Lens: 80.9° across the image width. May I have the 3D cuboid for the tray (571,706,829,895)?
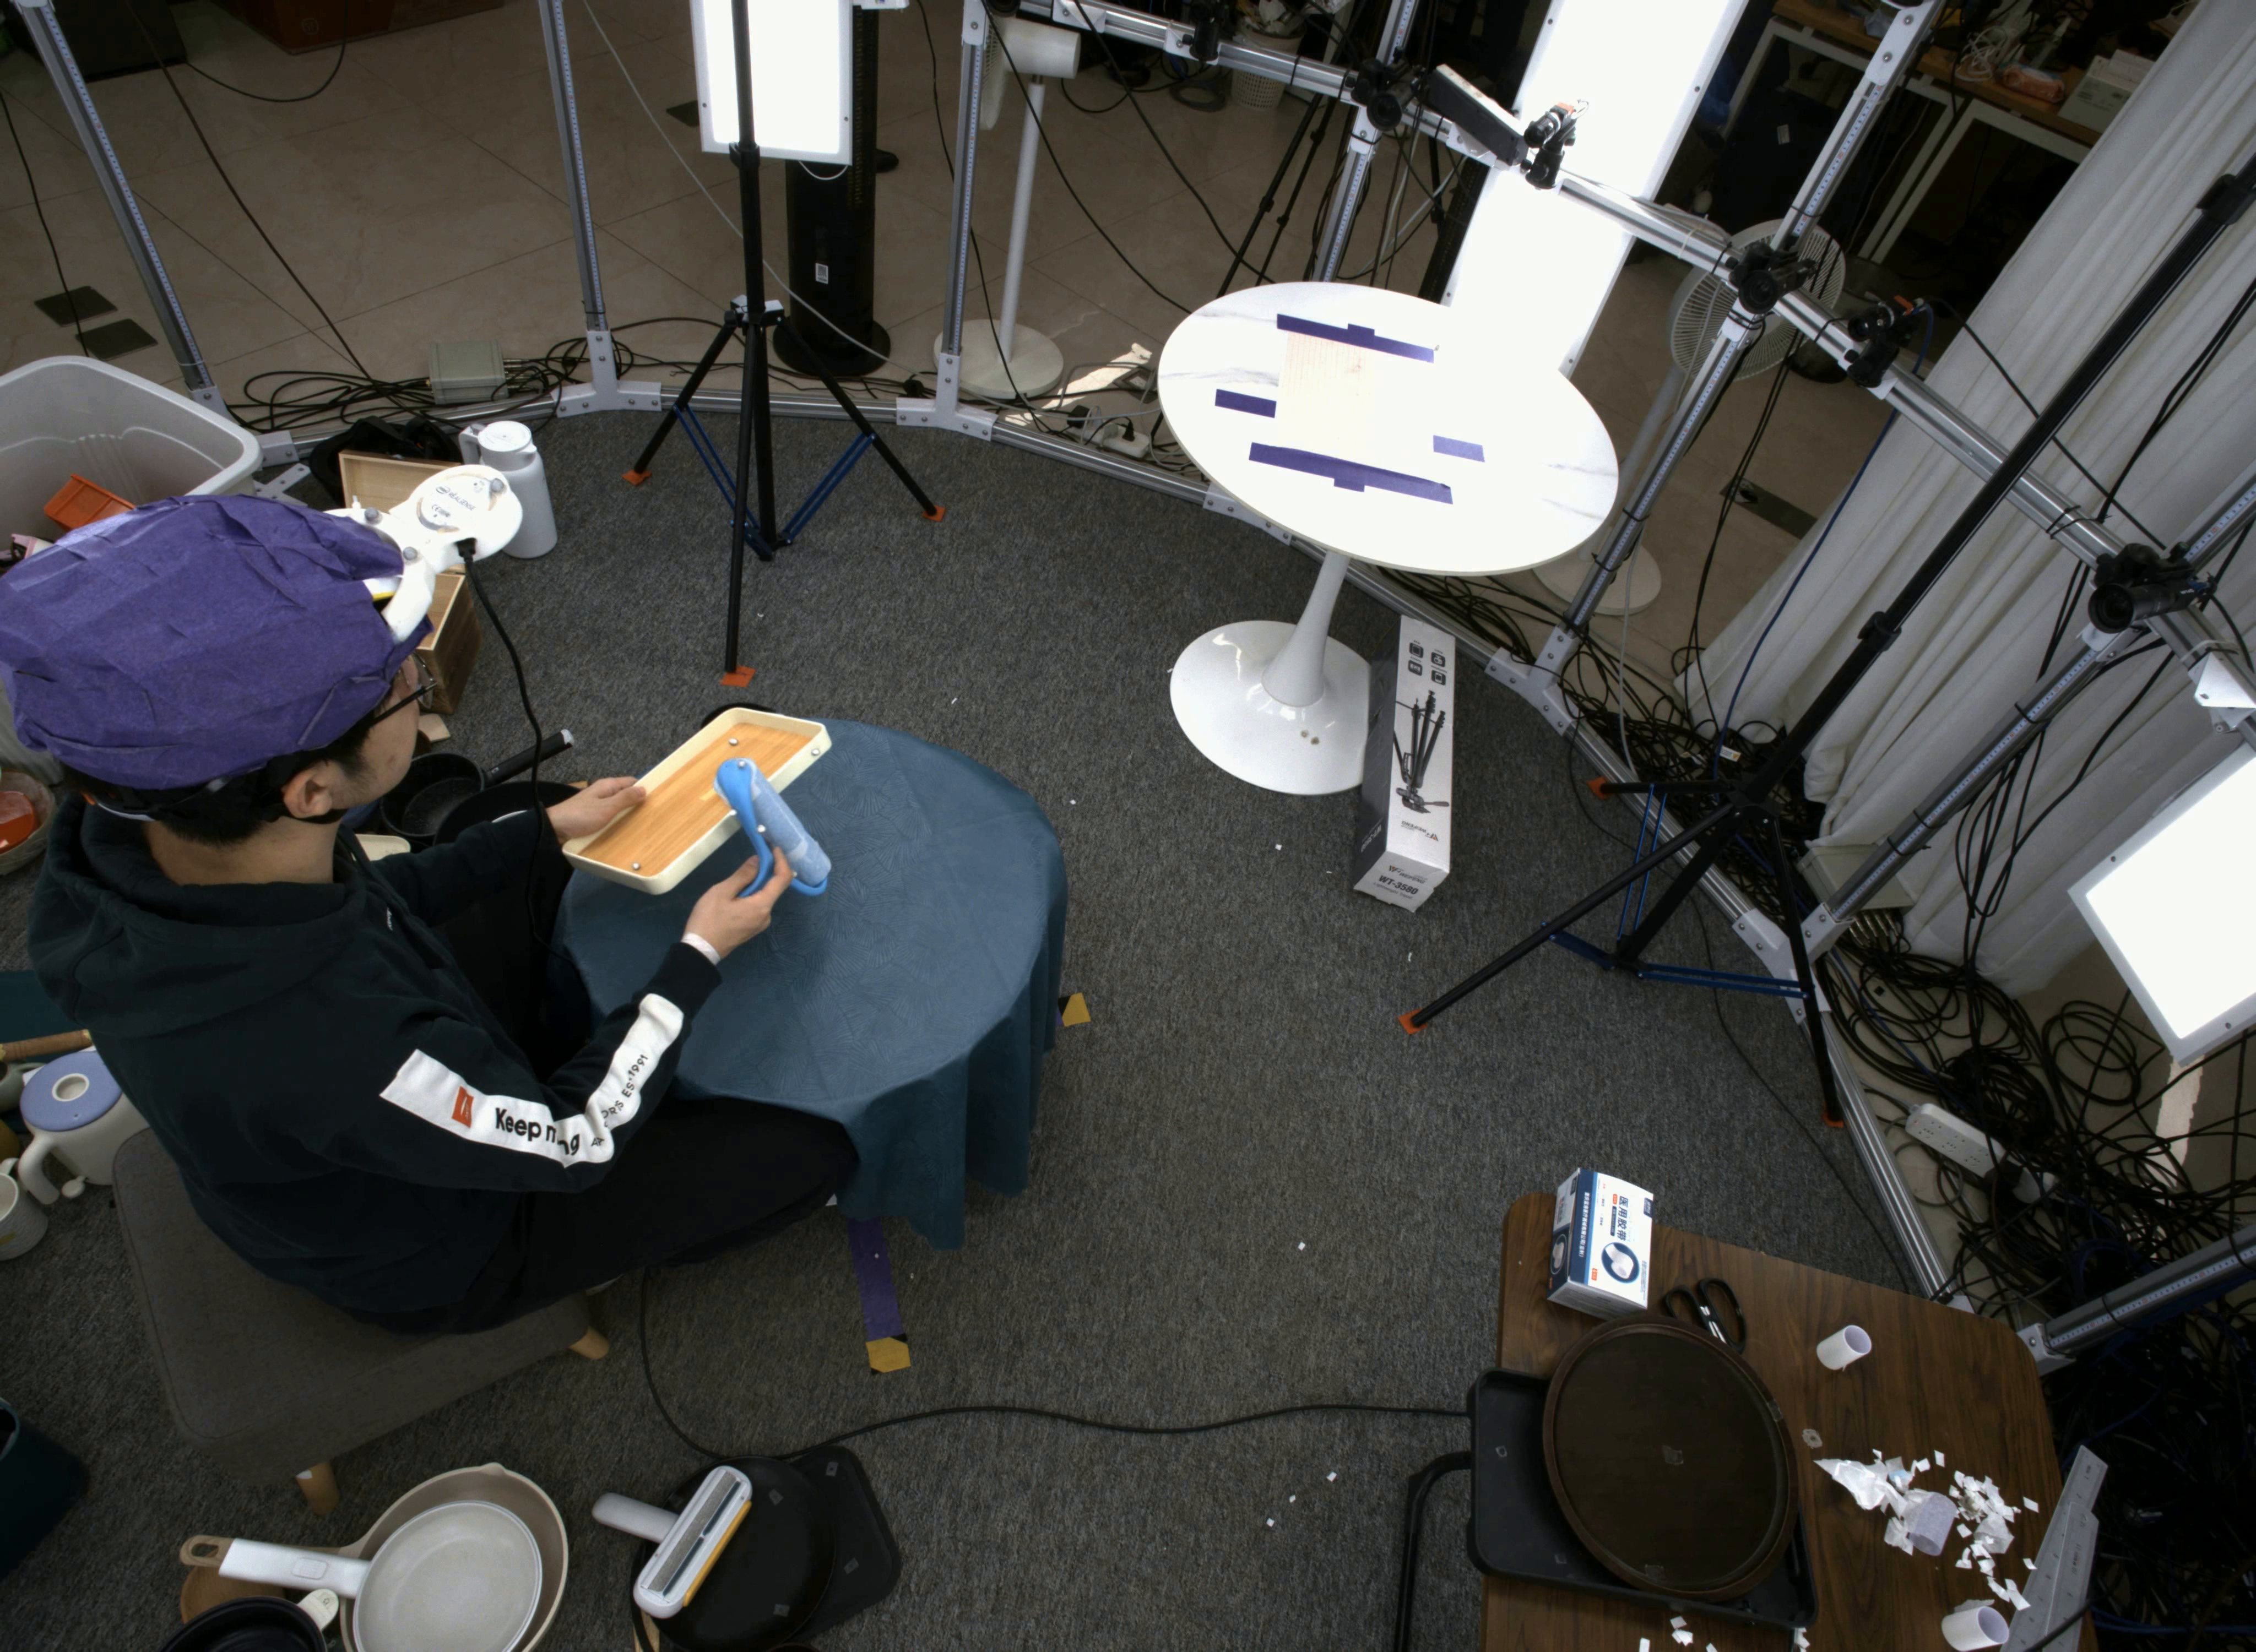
[{"bbox_3d":[-0.514,-0.039,1.541,0.185,0.028,0.299,13,46,33],"label":"tray"}]

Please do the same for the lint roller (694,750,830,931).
[{"bbox_3d":[-0.427,0.042,1.474,0.066,0.237,0.179,10,63,20],"label":"lint roller"}]
